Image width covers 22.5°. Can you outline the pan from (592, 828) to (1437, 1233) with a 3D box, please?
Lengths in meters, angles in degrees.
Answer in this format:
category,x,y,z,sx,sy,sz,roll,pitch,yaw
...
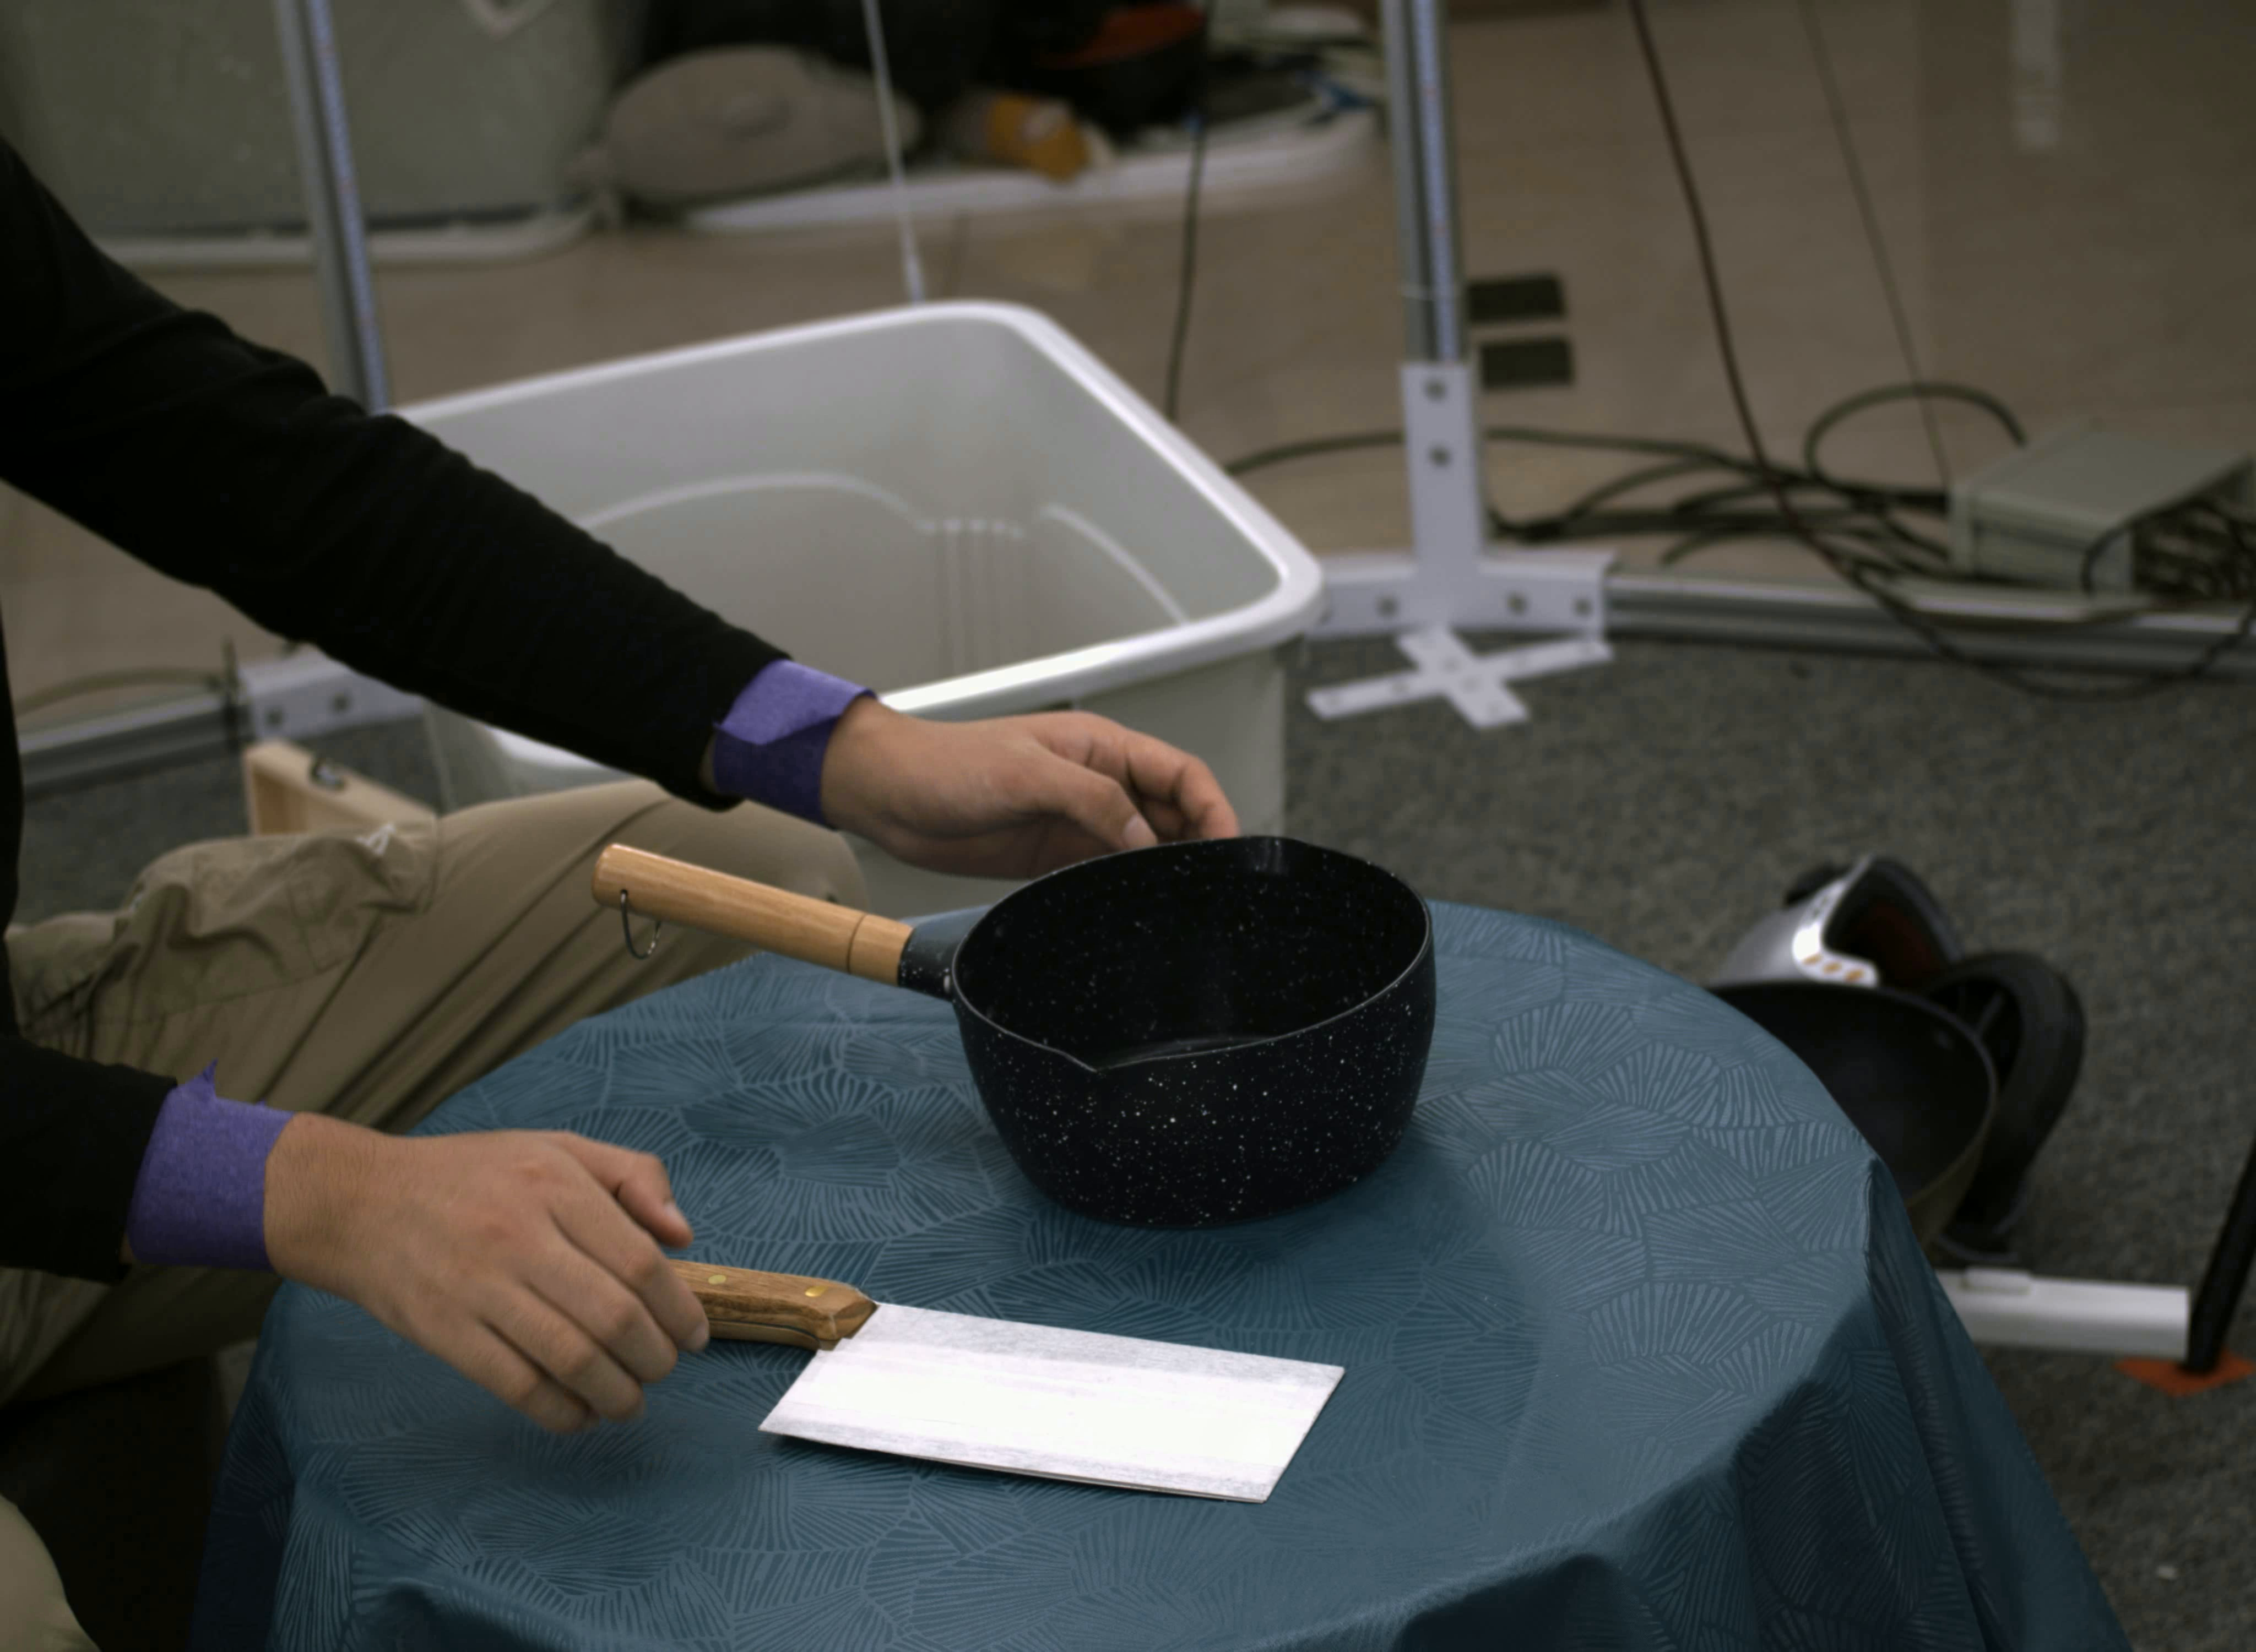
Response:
category,x,y,z,sx,sy,sz,roll,pitch,yaw
pan,-0.048,0.068,2.186,0.342,0.110,0.204,4,27,19

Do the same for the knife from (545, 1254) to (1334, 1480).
category,x,y,z,sx,sy,sz,roll,pitch,yaw
knife,-0.079,0.196,2.029,0.305,0.021,0.091,6,29,20
